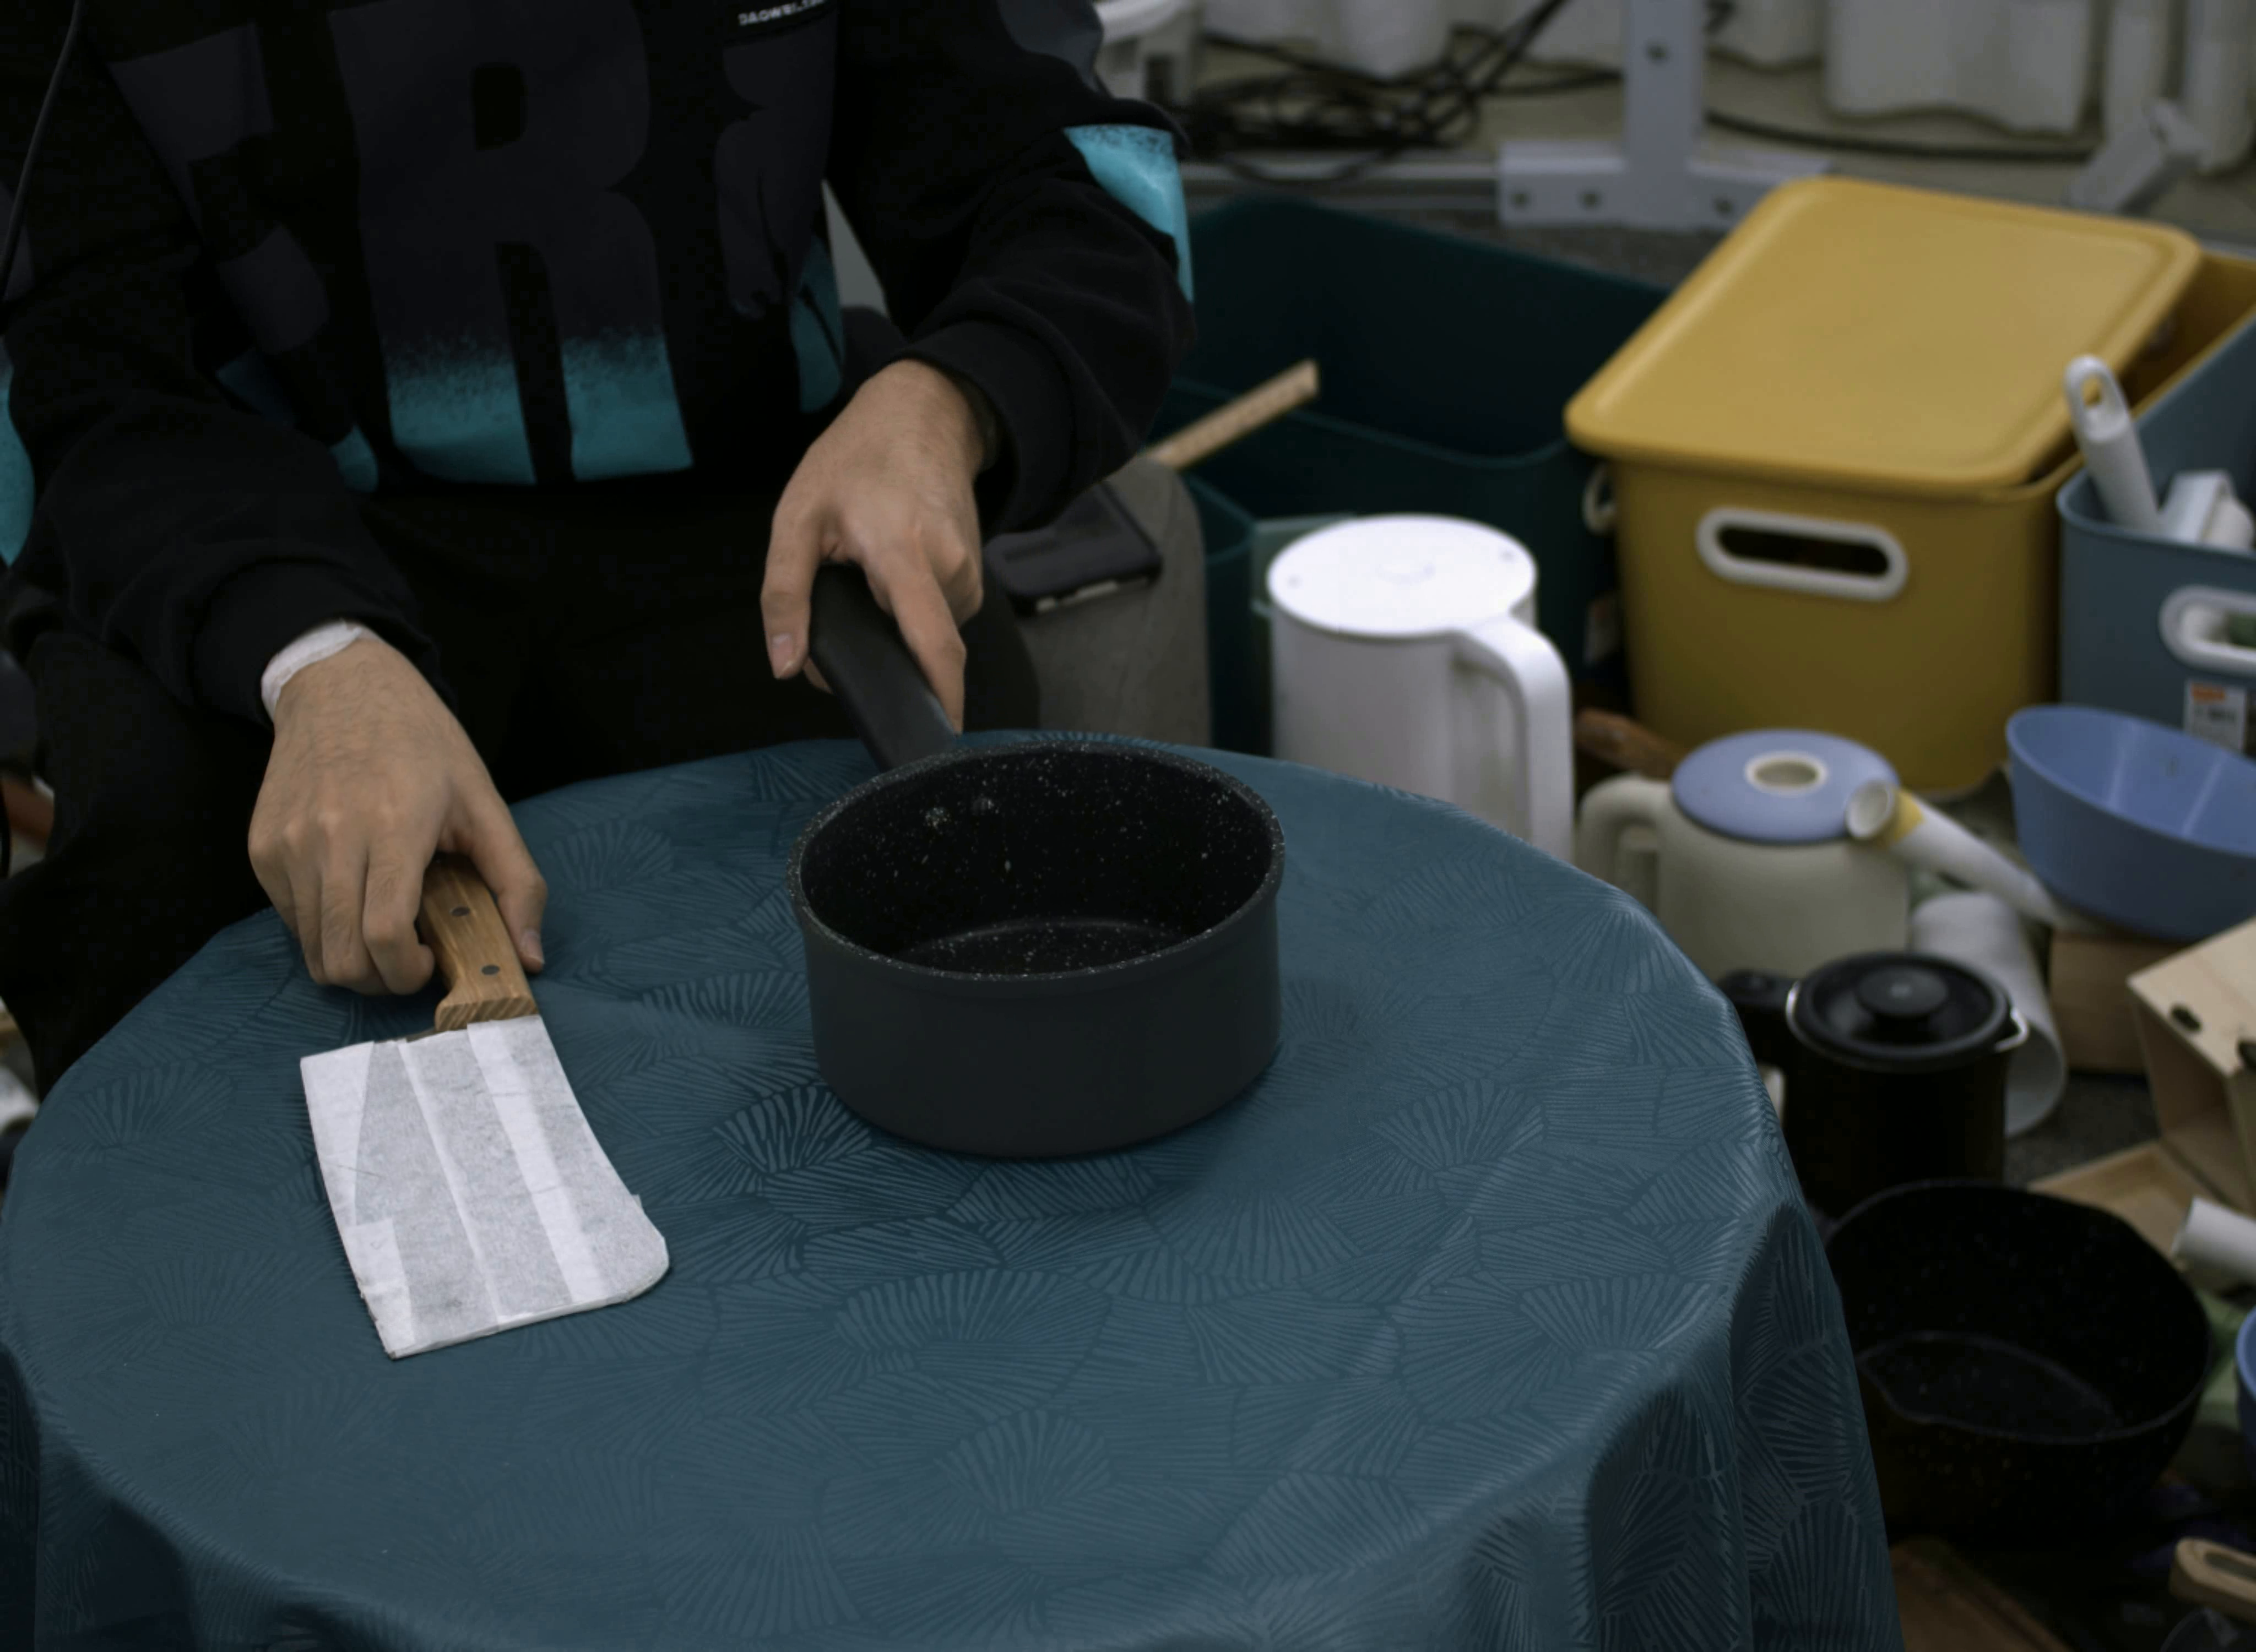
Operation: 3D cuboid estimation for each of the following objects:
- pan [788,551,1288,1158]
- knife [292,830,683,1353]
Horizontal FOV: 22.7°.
[{"bbox_3d":[-0.055,0.007,1.999,0.172,0.085,0.332,-9,29,-16],"label":"pan"},{"bbox_3d":[-0.229,0.087,1.932,0.114,0.021,0.319,-9,31,-10],"label":"knife"}]
